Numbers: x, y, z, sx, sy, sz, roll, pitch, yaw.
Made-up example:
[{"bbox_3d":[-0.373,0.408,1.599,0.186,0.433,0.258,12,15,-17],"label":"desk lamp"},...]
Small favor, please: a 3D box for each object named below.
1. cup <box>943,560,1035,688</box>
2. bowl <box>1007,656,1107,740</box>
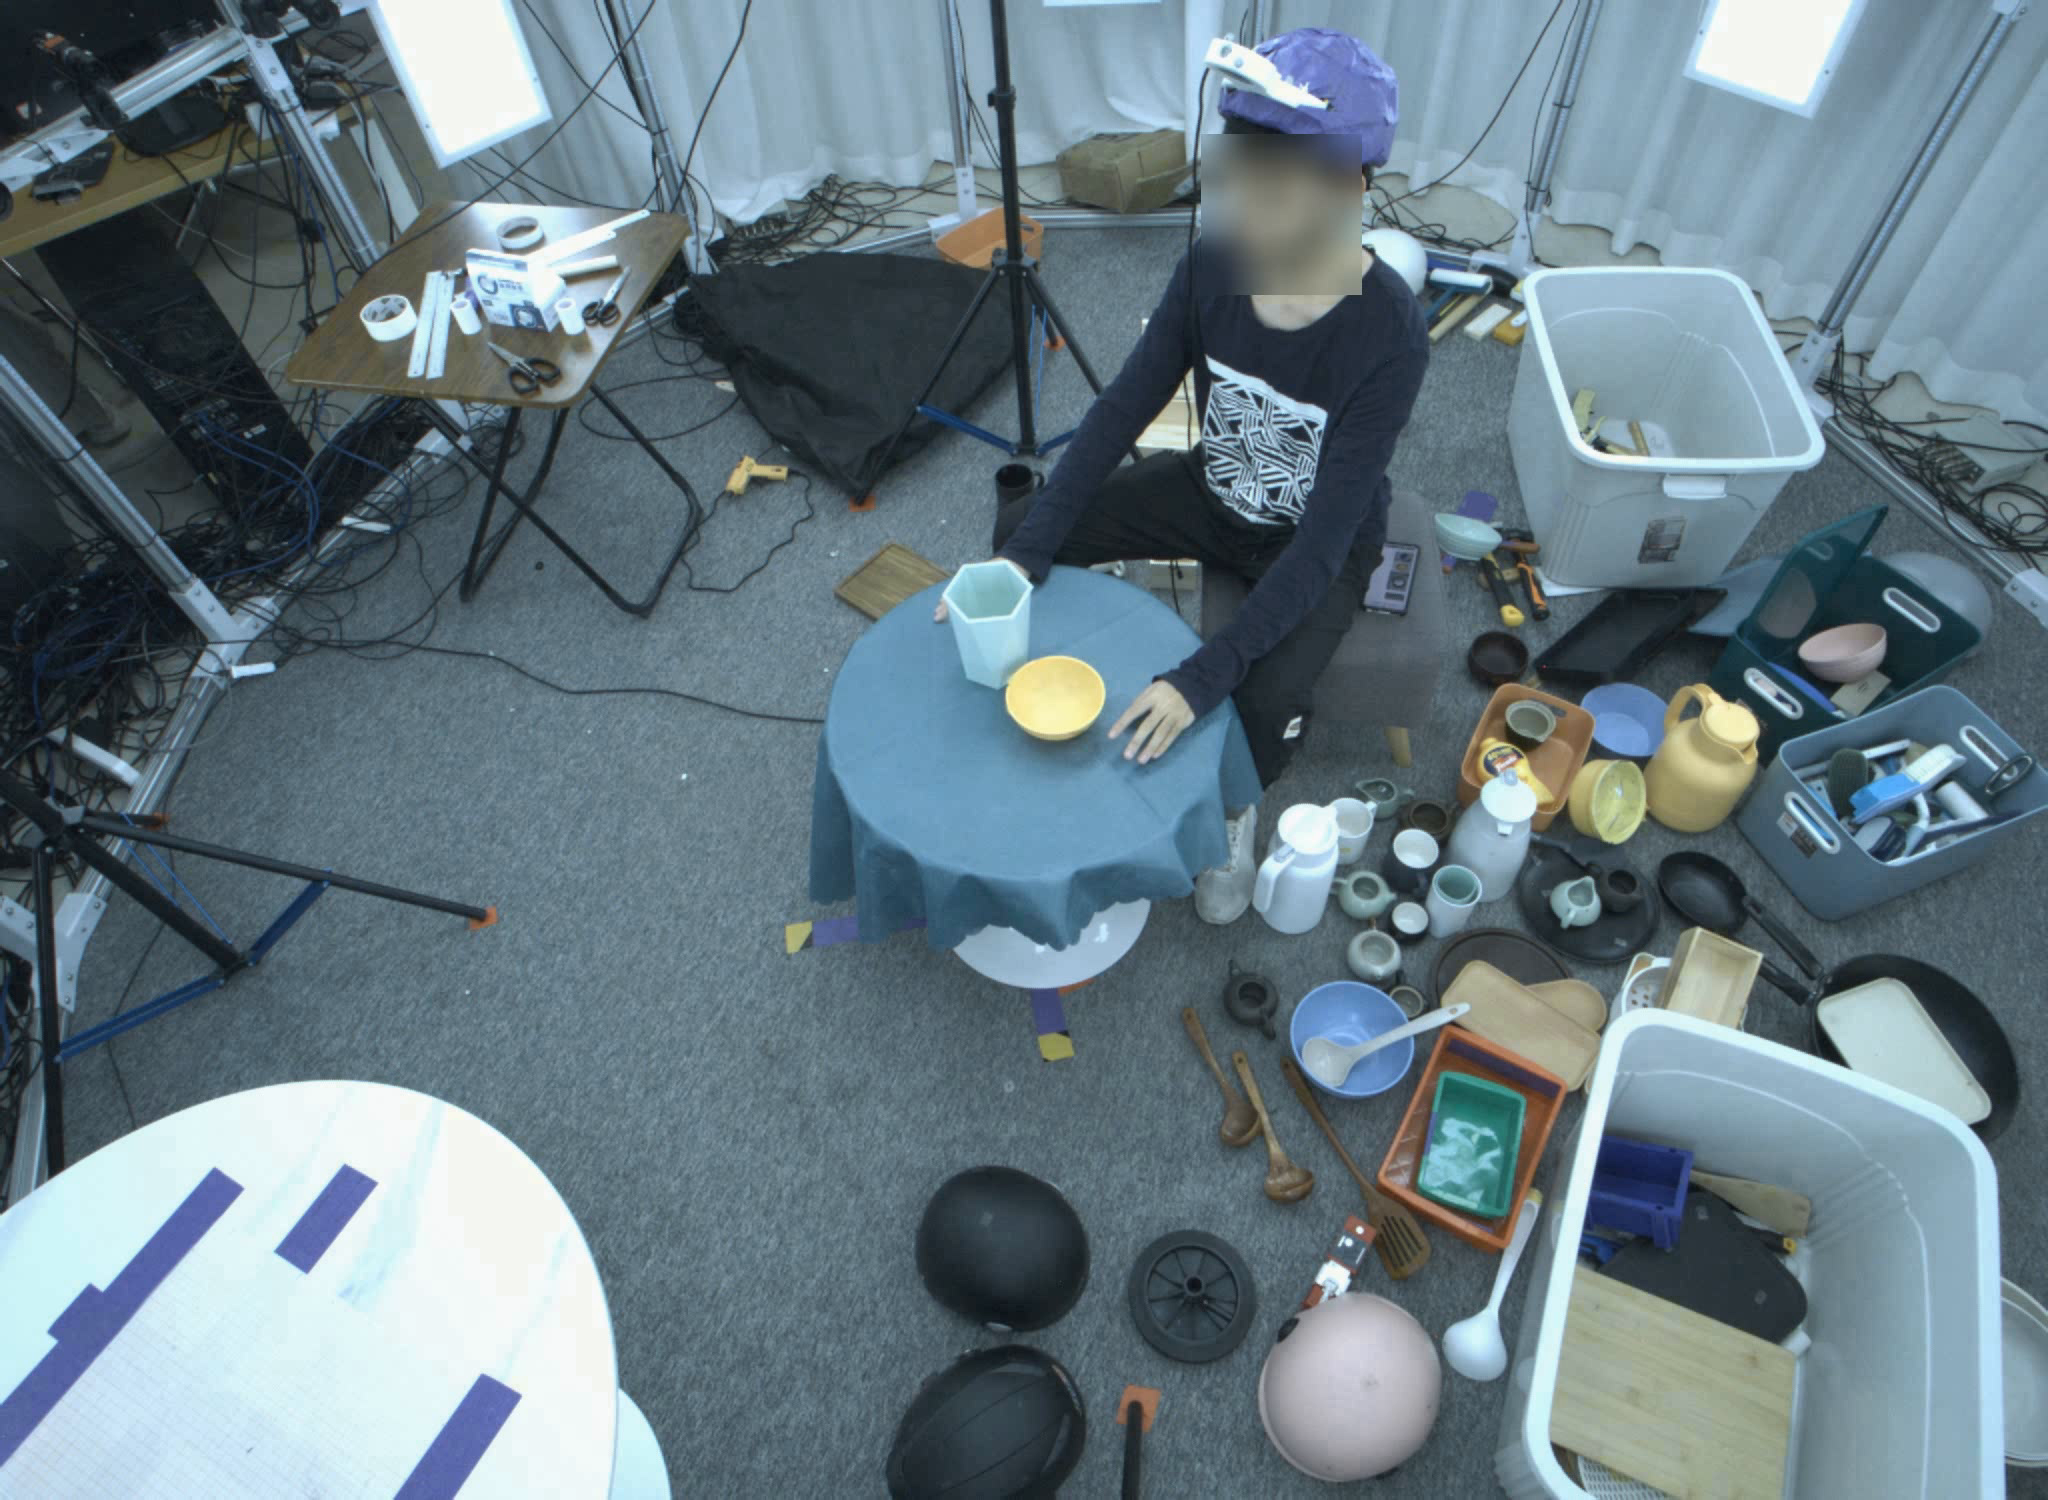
[{"bbox_3d":[-0.048,-0.180,1.809,0.116,0.164,0.128,-32,59,-19],"label":"cup"},{"bbox_3d":[0.047,-0.064,1.792,0.145,0.060,0.144,1,54,0],"label":"bowl"}]
